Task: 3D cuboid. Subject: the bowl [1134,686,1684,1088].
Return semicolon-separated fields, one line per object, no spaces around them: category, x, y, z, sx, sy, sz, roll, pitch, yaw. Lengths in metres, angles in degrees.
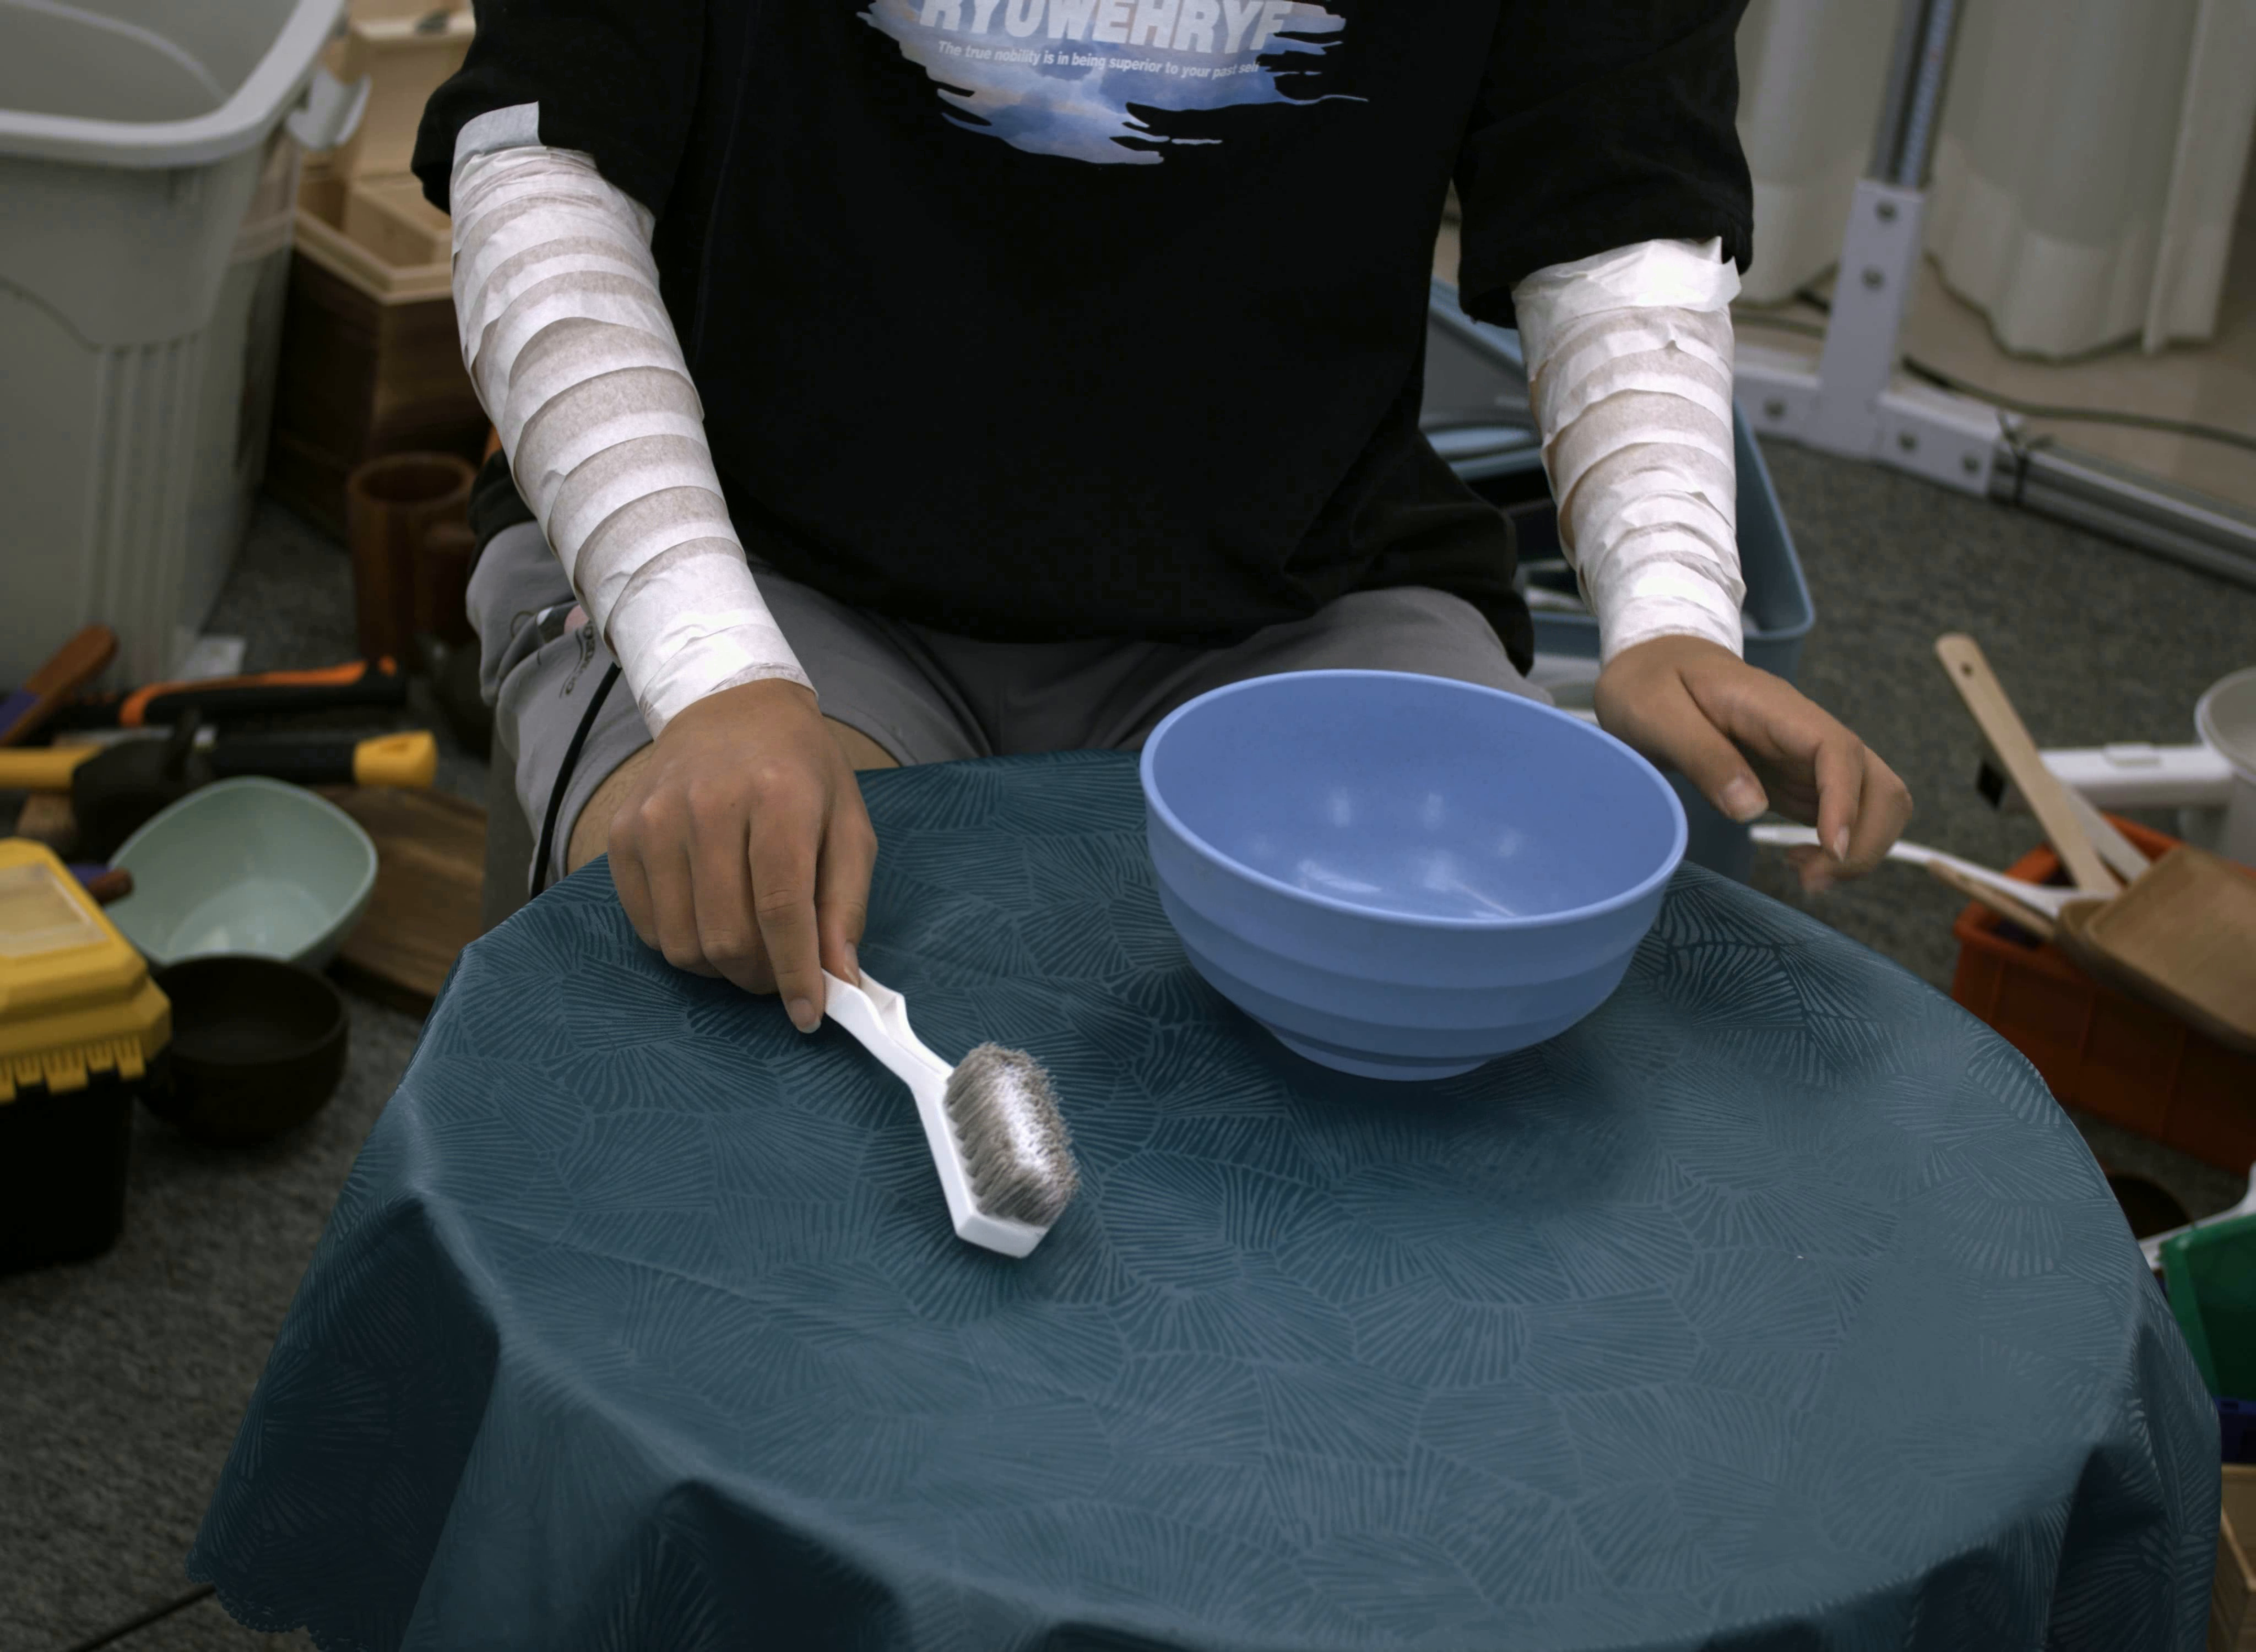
bowl;0.097;0.031;1.911;0.196;0.095;0.197;3;25;-2

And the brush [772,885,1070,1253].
brush;-0.074;0.067;1.835;0.034;0.050;0.246;11;24;-27
